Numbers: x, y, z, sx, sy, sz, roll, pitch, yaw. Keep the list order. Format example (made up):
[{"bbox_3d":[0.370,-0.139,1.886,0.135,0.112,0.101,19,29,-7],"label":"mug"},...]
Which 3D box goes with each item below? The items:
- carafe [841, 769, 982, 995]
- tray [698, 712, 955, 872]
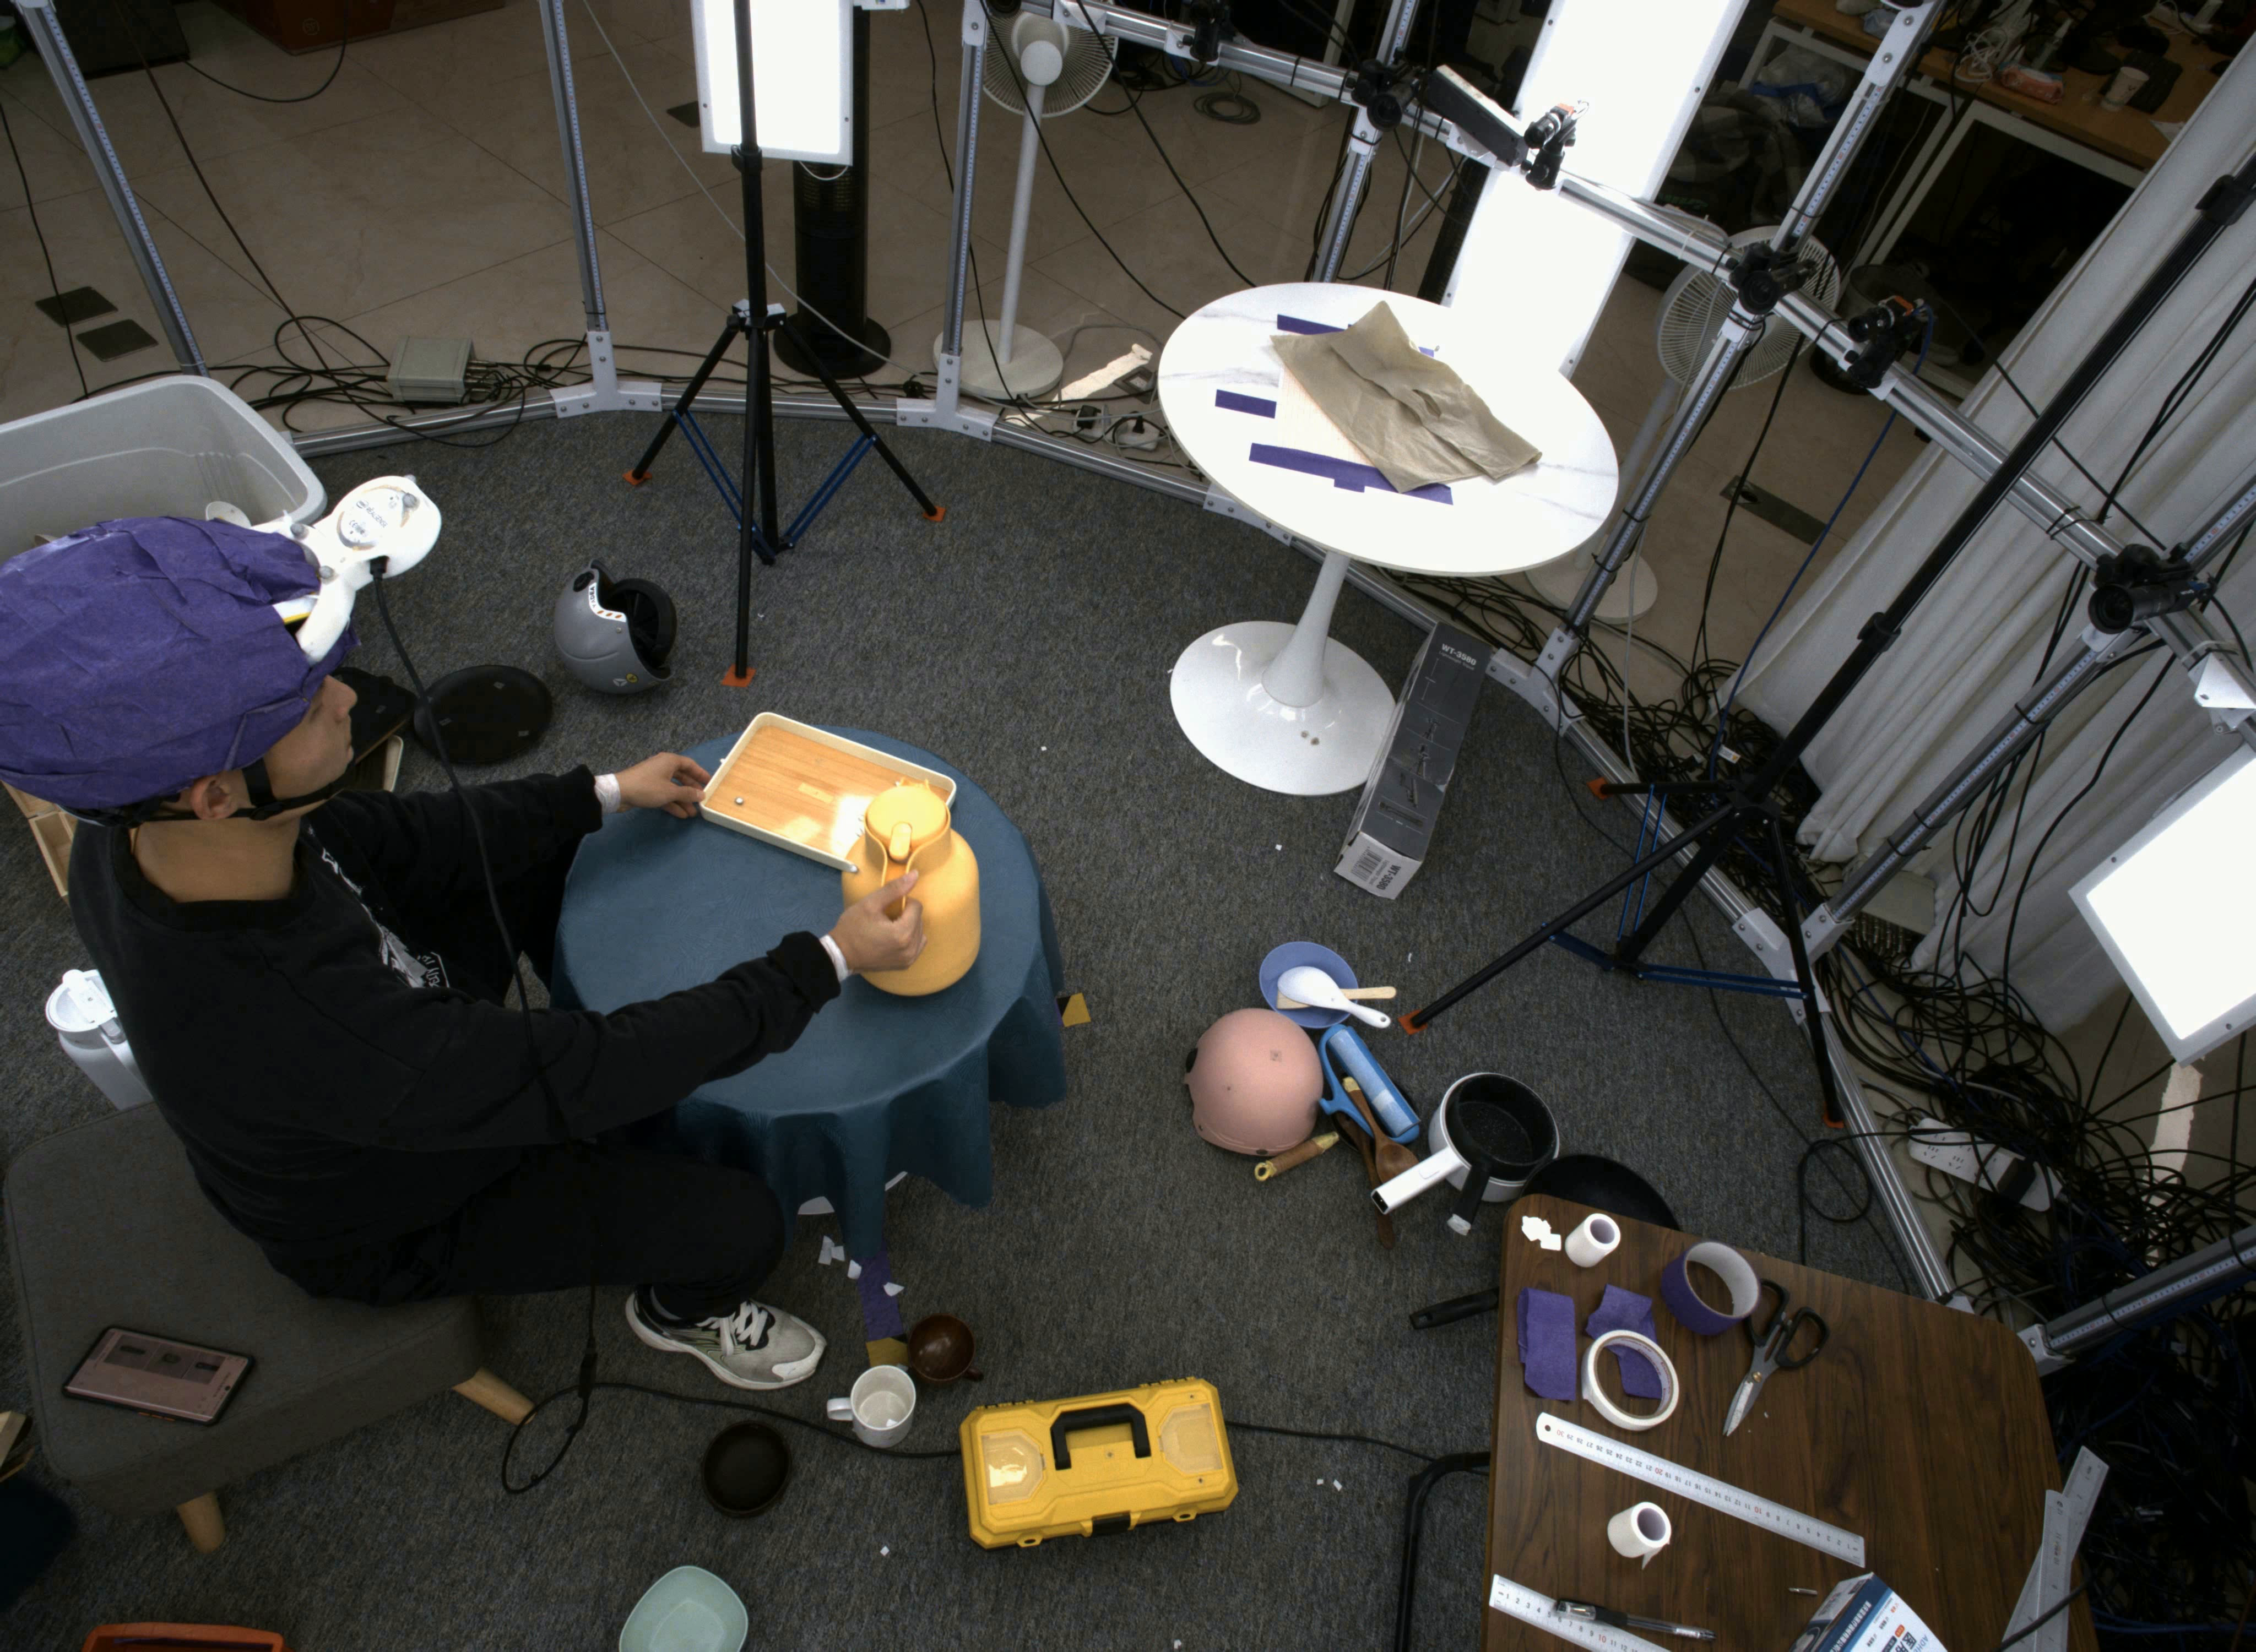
[{"bbox_3d":[-0.259,0.078,1.521,0.161,0.268,0.198,3,44,1],"label":"carafe"},{"bbox_3d":[-0.401,-0.037,1.738,0.297,0.028,0.189,20,51,1],"label":"tray"}]
